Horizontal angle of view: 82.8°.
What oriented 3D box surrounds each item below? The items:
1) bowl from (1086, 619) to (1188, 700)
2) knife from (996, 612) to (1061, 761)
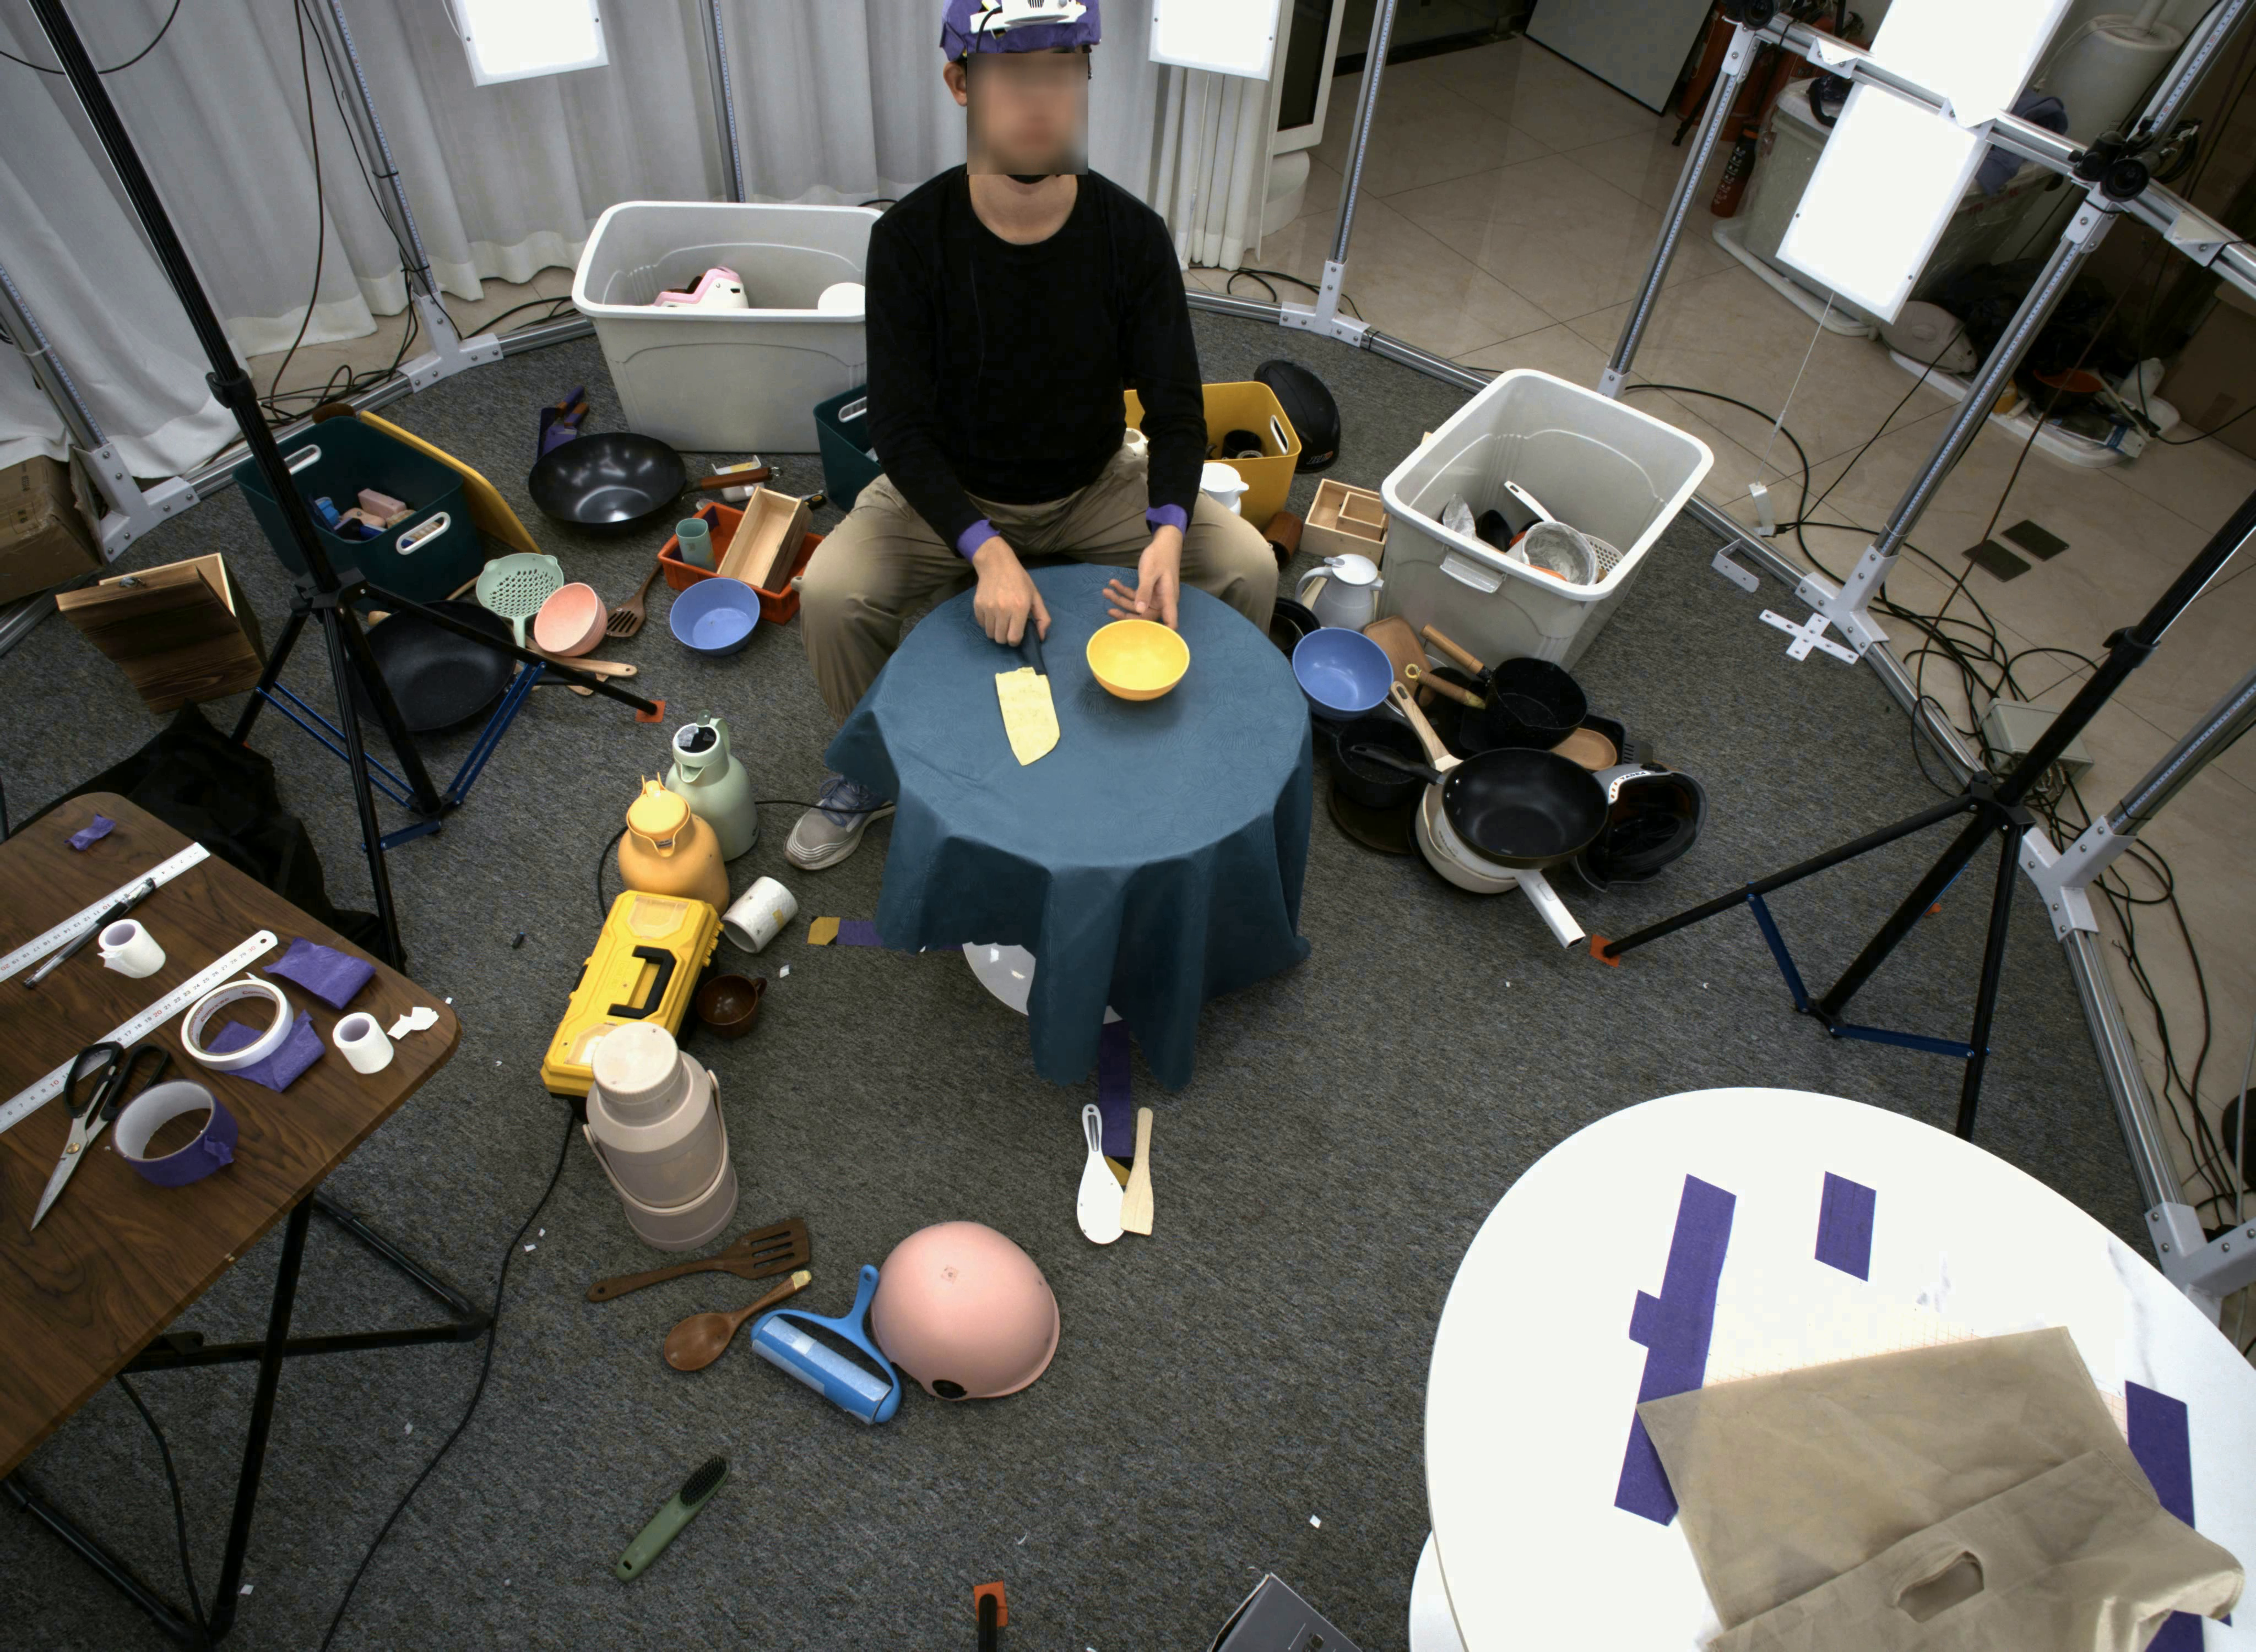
[{"bbox_3d":[0.010,-0.226,1.827,0.145,0.059,0.149,3,49,-4],"label":"bowl"},{"bbox_3d":[-0.146,-0.201,1.826,0.081,0.026,0.297,-4,50,-8],"label":"knife"}]
